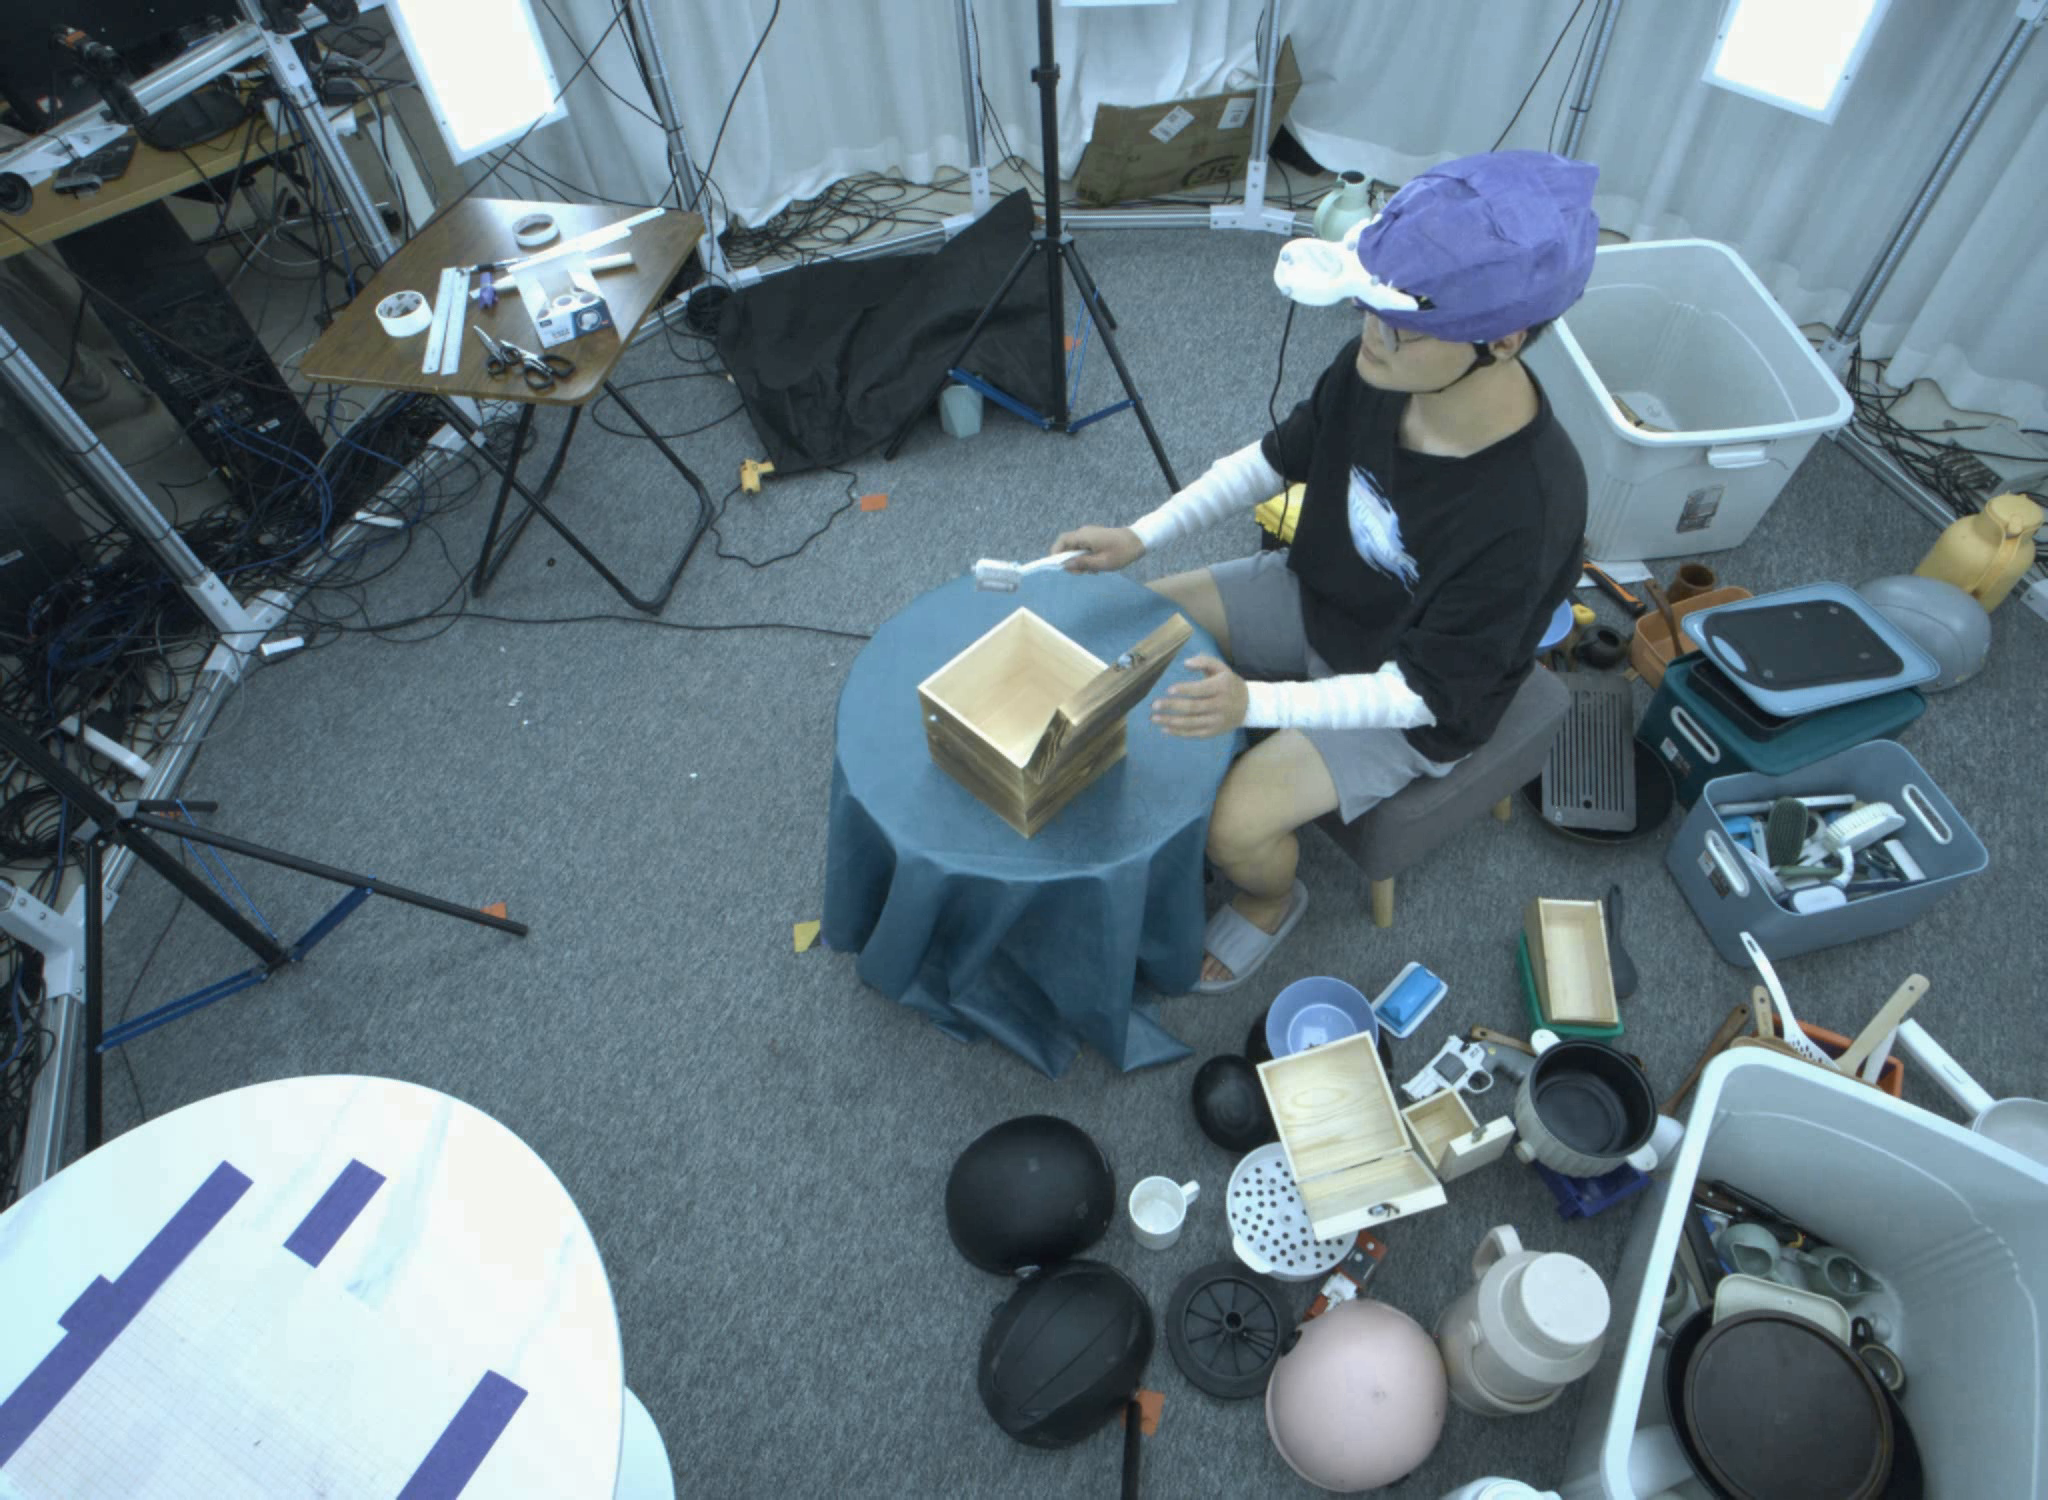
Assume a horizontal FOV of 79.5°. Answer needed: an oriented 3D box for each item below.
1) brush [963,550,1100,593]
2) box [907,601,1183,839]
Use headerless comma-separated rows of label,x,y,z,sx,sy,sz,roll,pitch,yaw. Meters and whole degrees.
brush,0.017,-0.266,1.818,0.248,0.034,0.049,-11,62,-31
box,0.021,-0.073,1.604,0.316,0.379,0.210,37,63,26
